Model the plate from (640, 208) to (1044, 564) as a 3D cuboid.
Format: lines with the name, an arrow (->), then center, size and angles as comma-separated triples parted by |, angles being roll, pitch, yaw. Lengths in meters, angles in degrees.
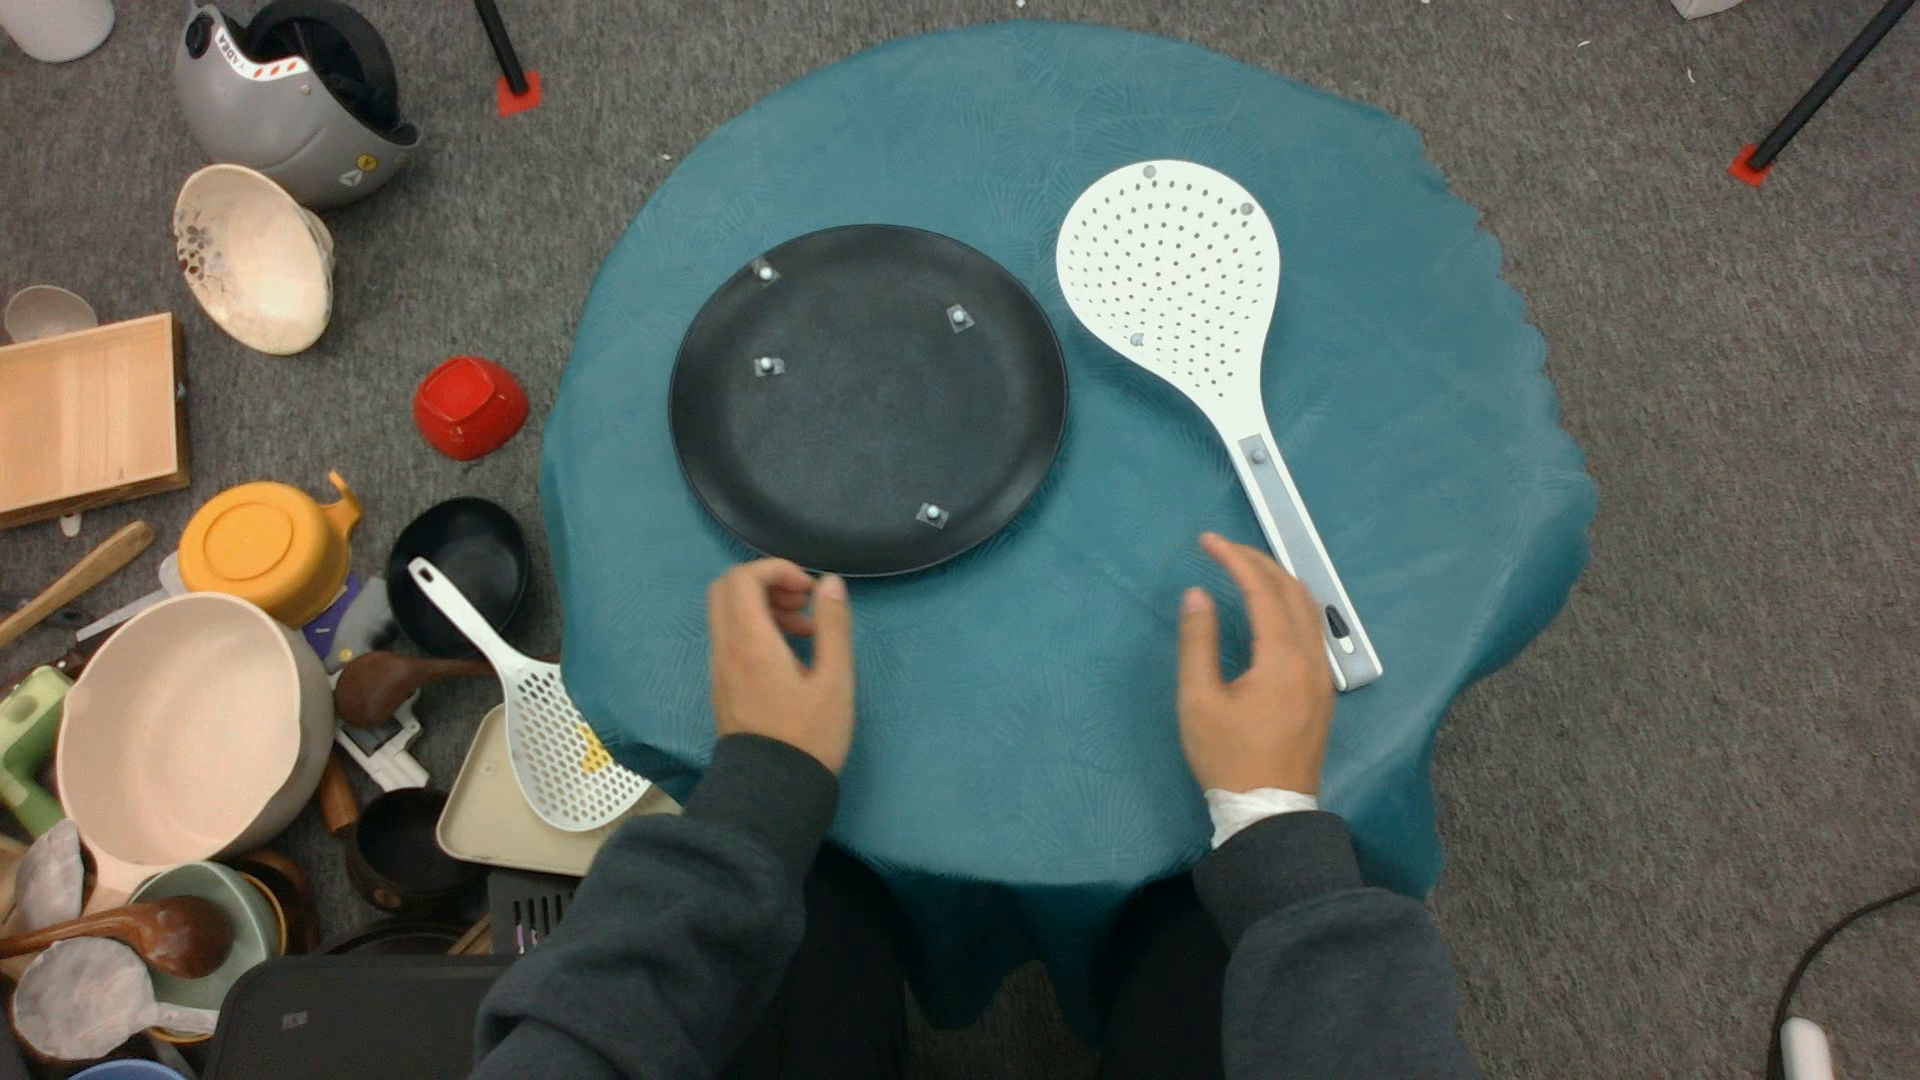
plate -> -0.071, -0.097, 0.839 | 0.244, 0.023, 0.245 | 0, 67, -1

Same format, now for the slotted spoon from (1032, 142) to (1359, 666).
slotted spoon -> 0.152, -0.088, 0.826 | 0.136, 0.045, 0.350 | -20, 70, -7
